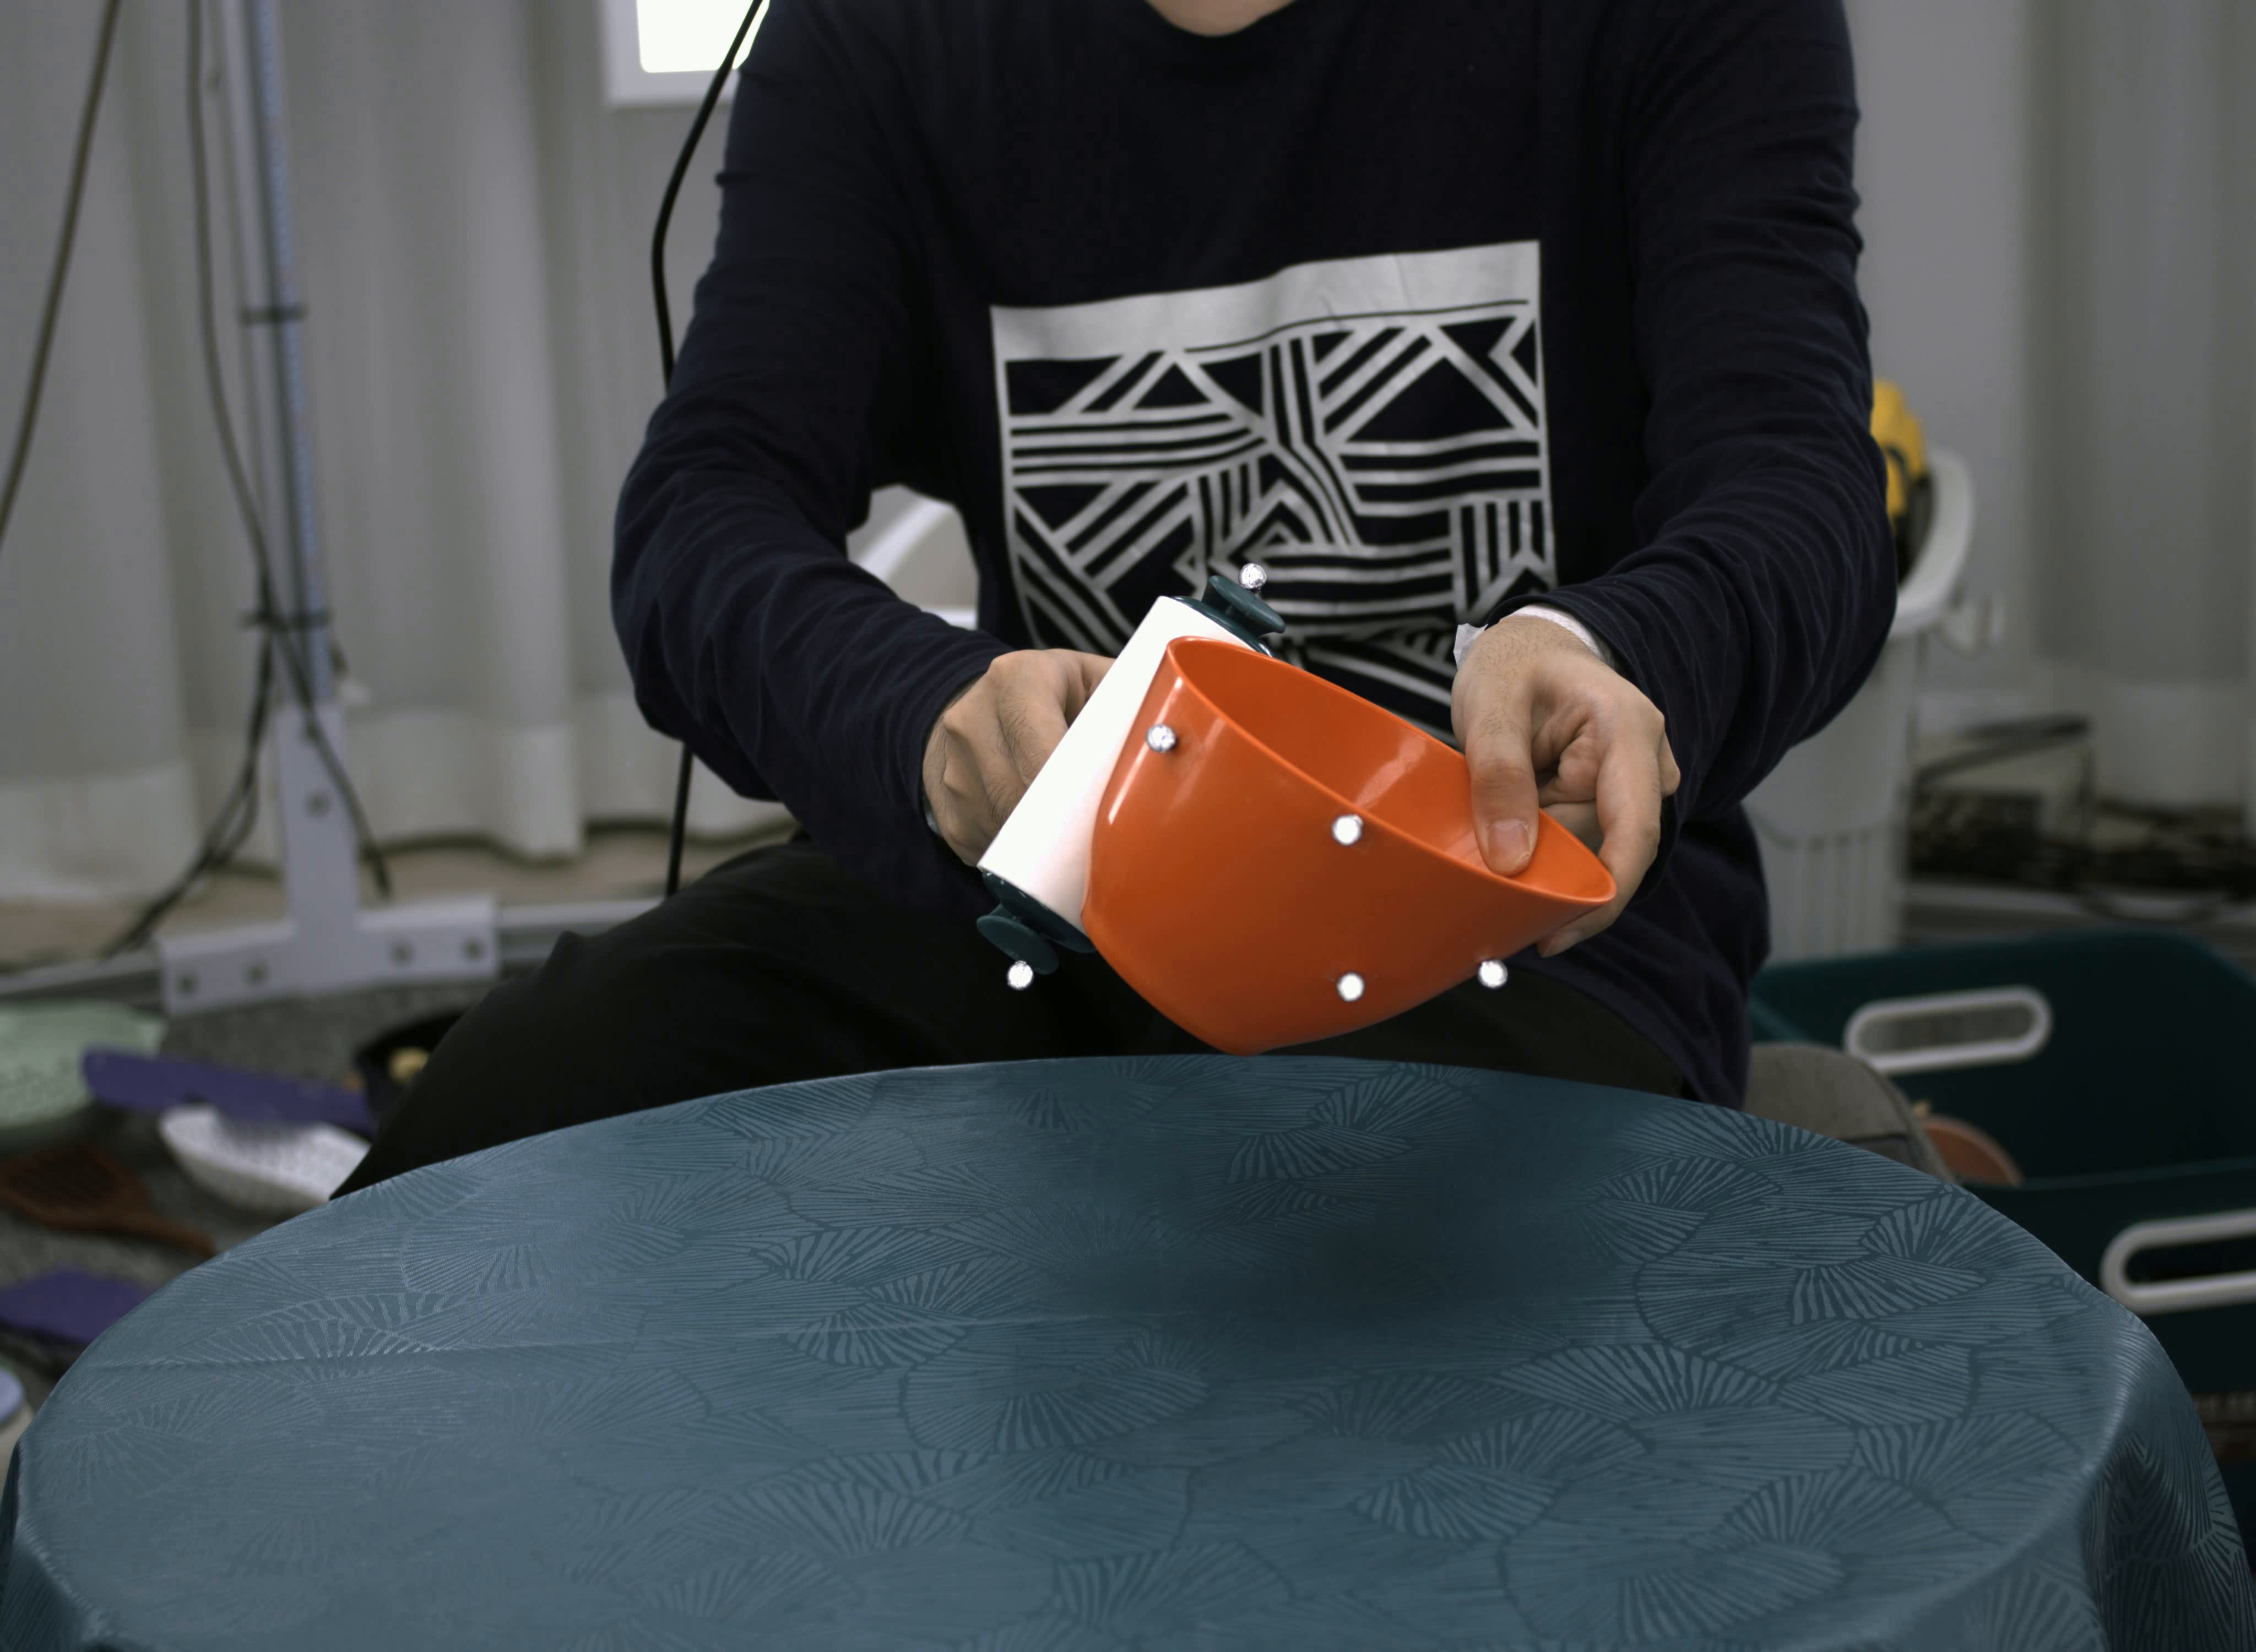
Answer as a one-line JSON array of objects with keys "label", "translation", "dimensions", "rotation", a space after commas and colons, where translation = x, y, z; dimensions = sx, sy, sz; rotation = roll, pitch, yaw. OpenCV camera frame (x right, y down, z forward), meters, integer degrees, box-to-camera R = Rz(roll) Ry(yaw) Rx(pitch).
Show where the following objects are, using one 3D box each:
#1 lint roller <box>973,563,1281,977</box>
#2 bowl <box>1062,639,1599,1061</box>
[{"label": "lint roller", "translation": [-0.012, -0.016, 1.716], "dimensions": [0.048, 0.135, 0.180], "rotation": [35, -7, -10]}, {"label": "bowl", "translation": [0.047, 0.016, 1.588], "dimensions": [0.147, 0.104, 0.149], "rotation": [37, 12, -9]}]
